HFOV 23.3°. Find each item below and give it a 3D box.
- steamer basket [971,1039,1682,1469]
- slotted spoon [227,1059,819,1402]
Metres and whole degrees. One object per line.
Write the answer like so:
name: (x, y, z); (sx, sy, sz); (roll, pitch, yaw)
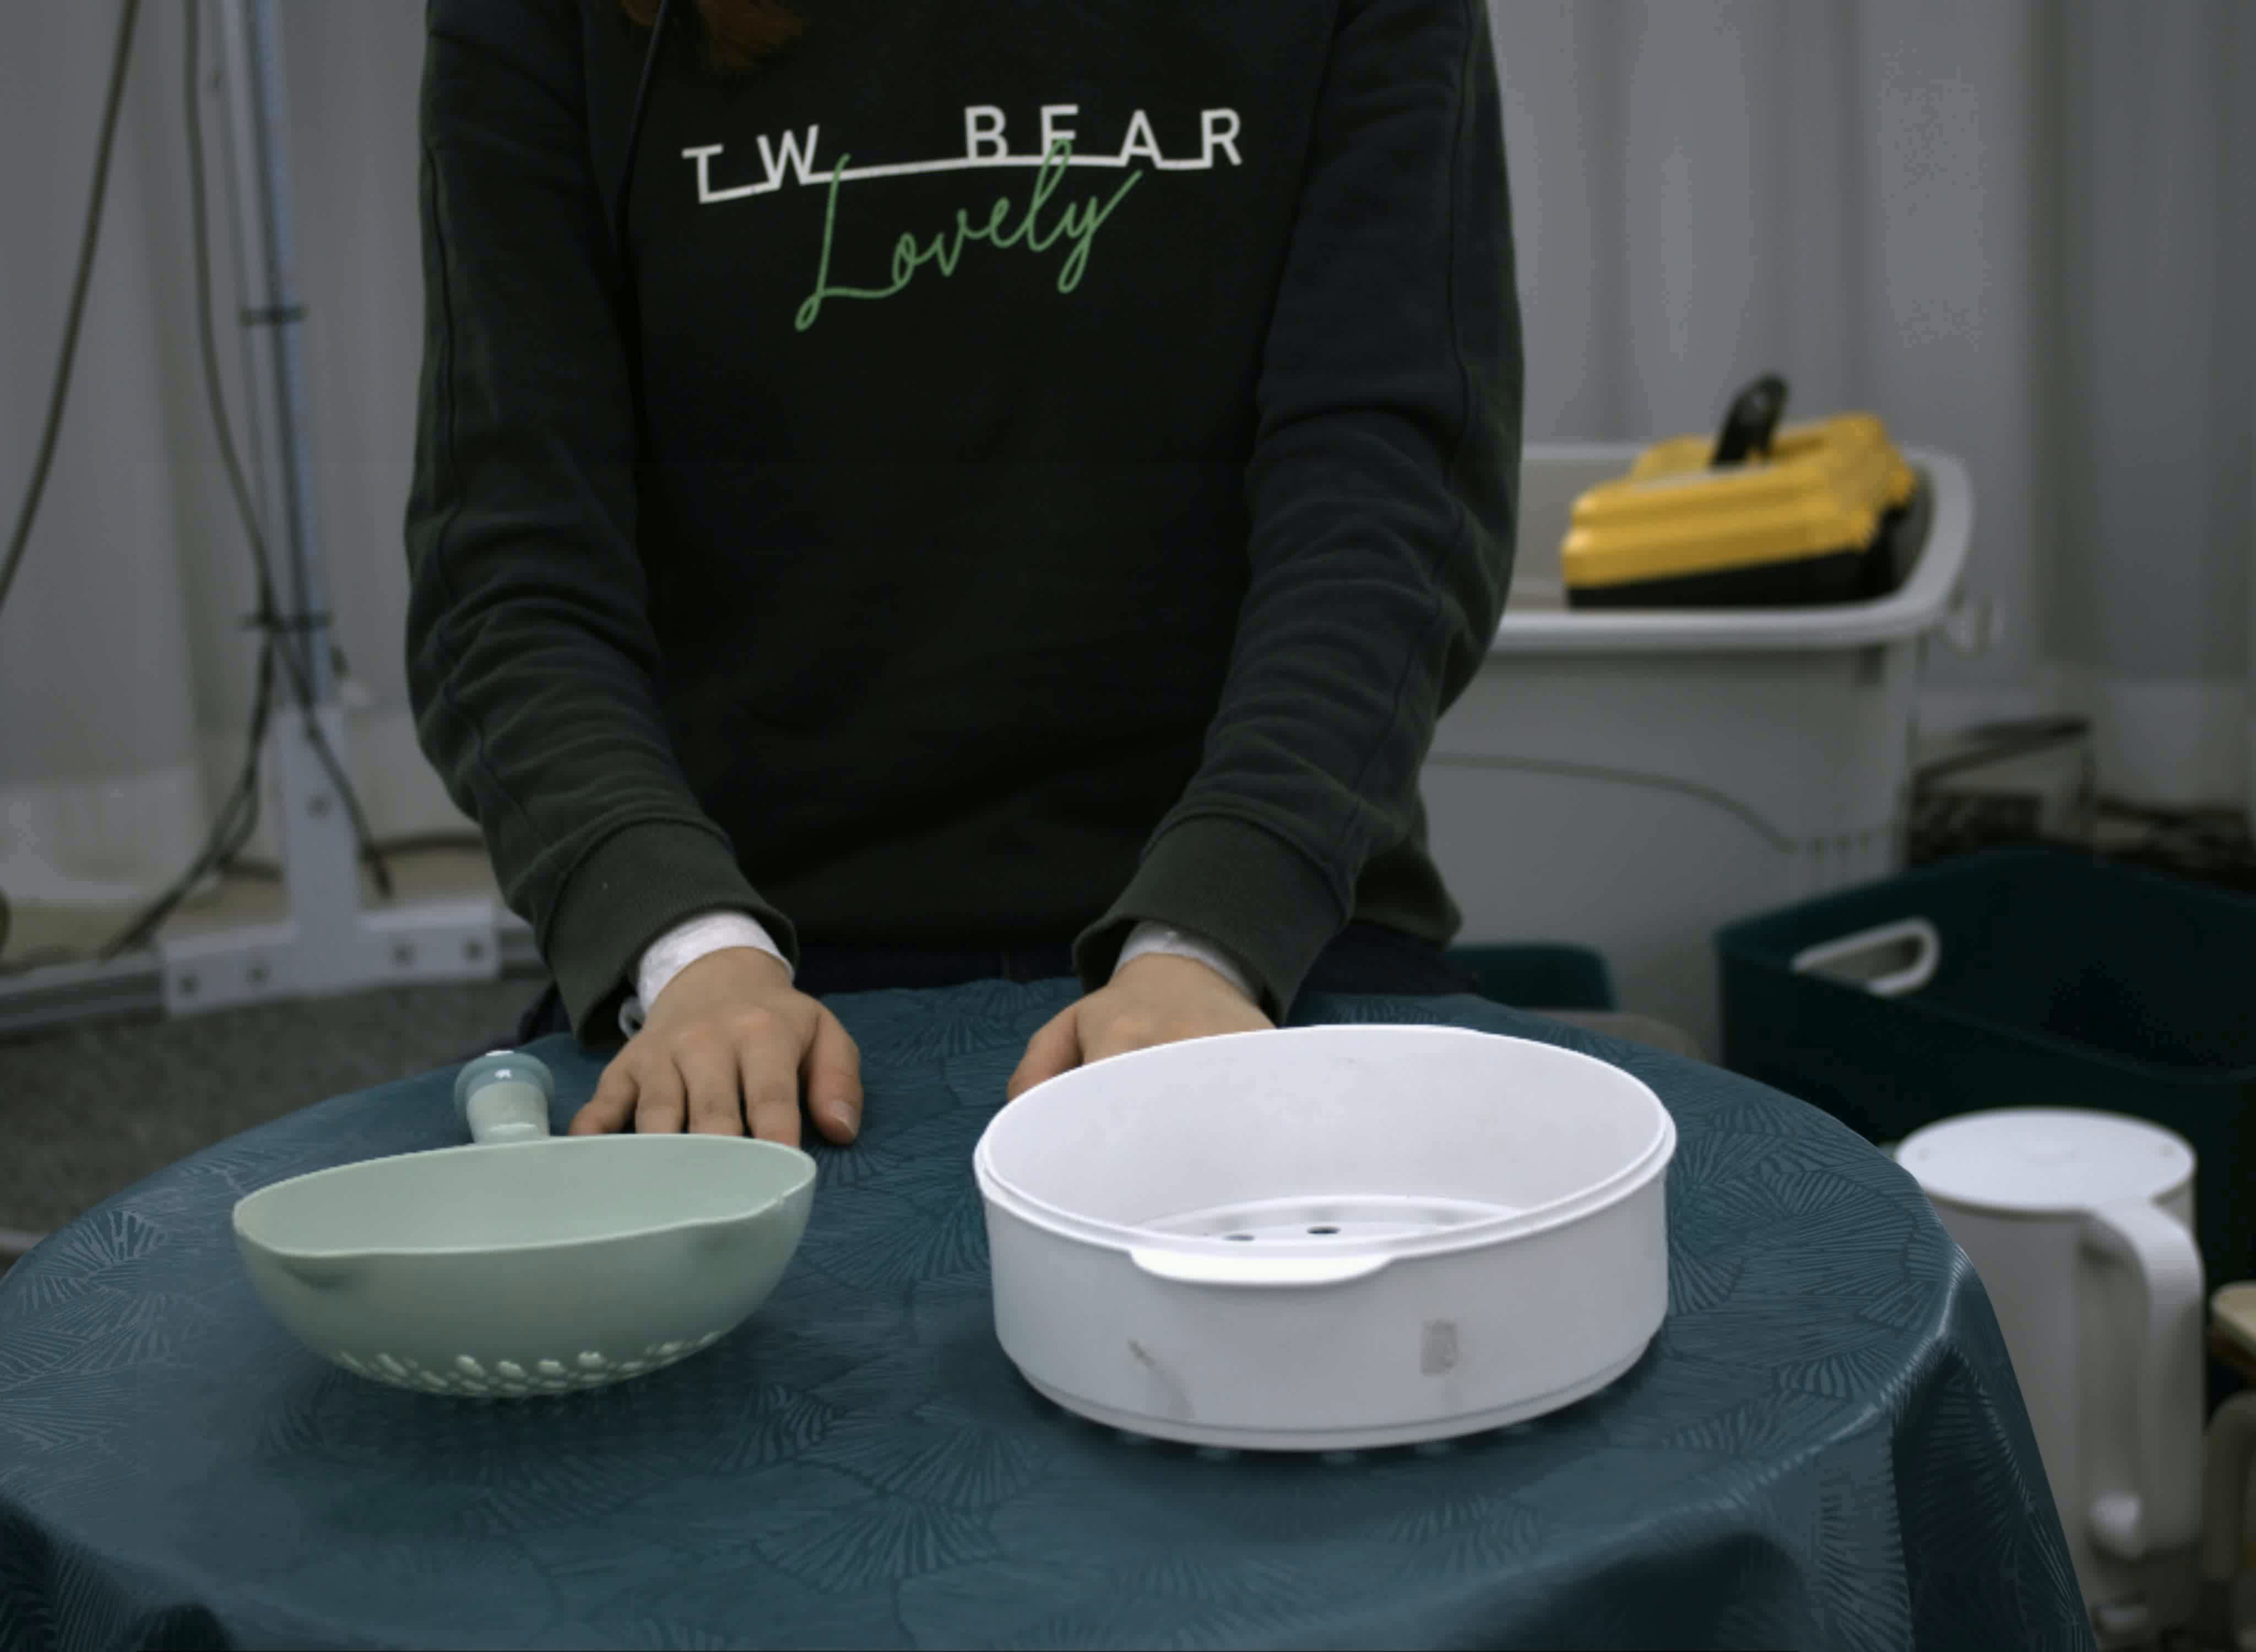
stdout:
steamer basket: (0.057, 0.121, 1.557); (0.201, 0.069, 0.231); (1, 15, 12)
slotted spoon: (-0.185, 0.106, 1.661); (0.168, 0.075, 0.361); (-4, 14, -7)
